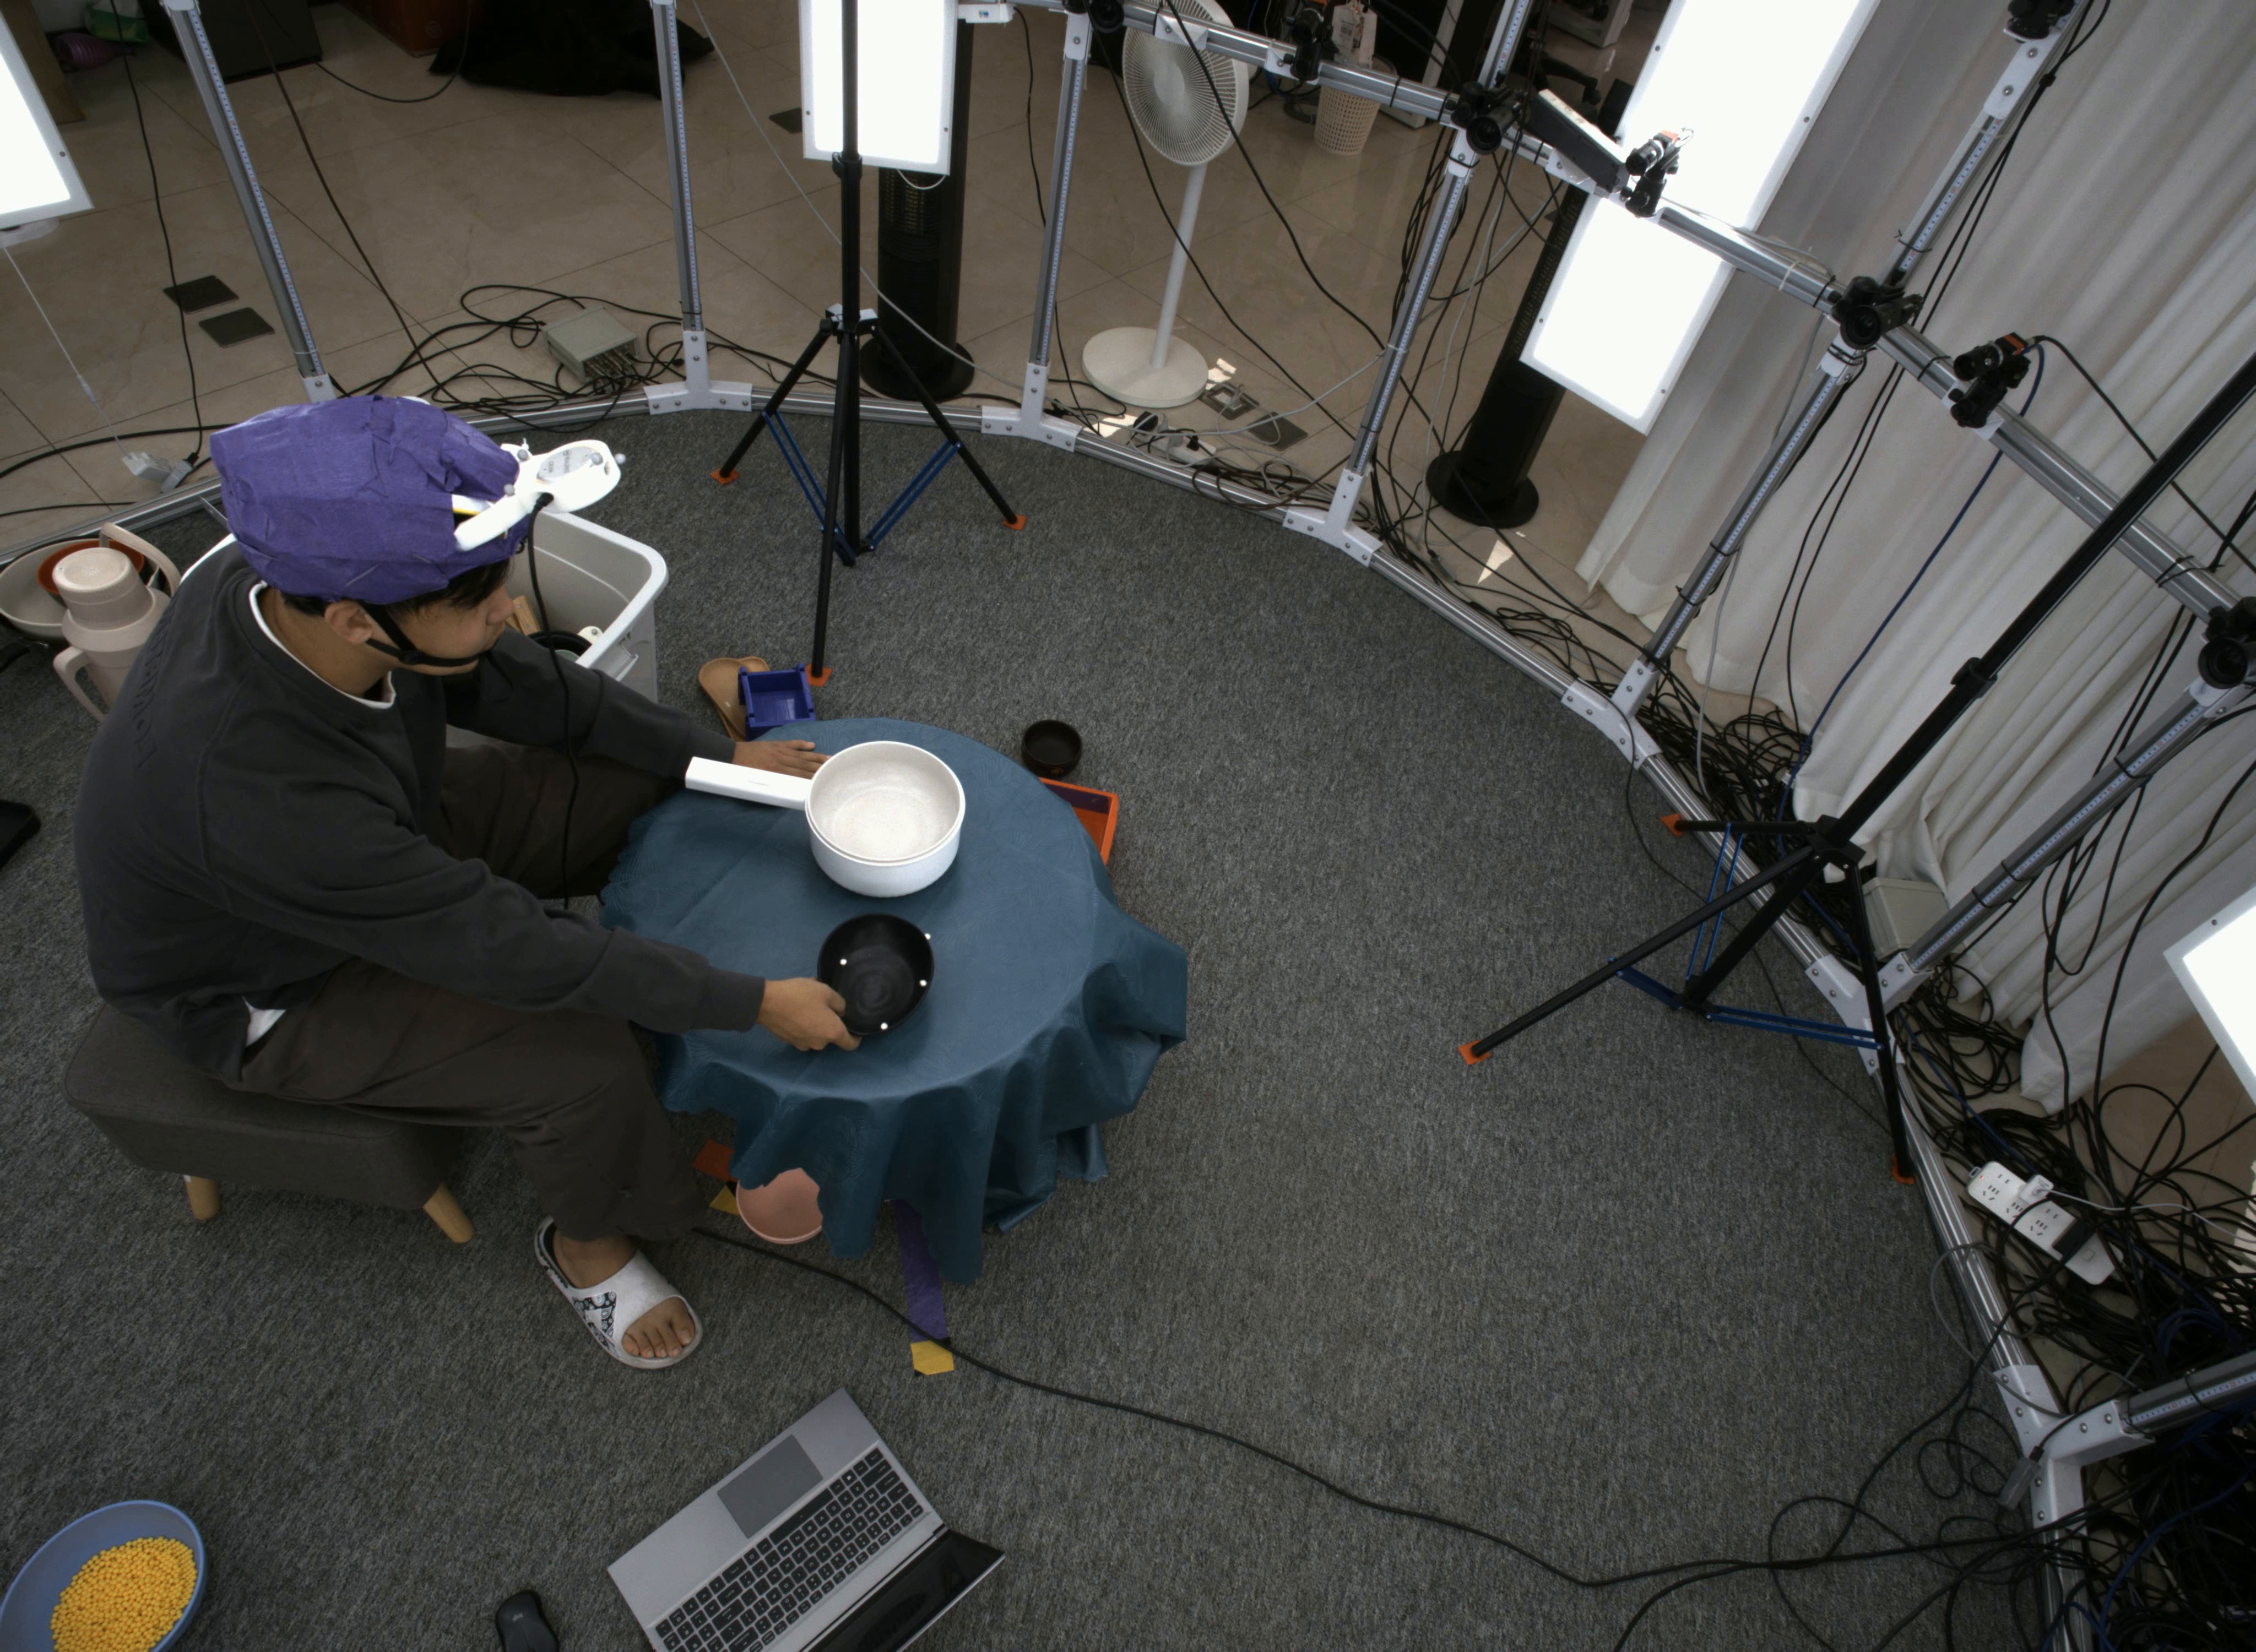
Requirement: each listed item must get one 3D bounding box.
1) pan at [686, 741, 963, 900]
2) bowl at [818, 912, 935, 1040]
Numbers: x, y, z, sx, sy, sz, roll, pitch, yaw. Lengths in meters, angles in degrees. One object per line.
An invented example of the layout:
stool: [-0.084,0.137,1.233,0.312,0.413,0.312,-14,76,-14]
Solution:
pan: [-0.390,-0.015,1.683,0.352,0.104,0.198,9,54,-4]
bowl: [-0.303,0.187,1.567,0.137,0.068,0.167,6,53,-8]
